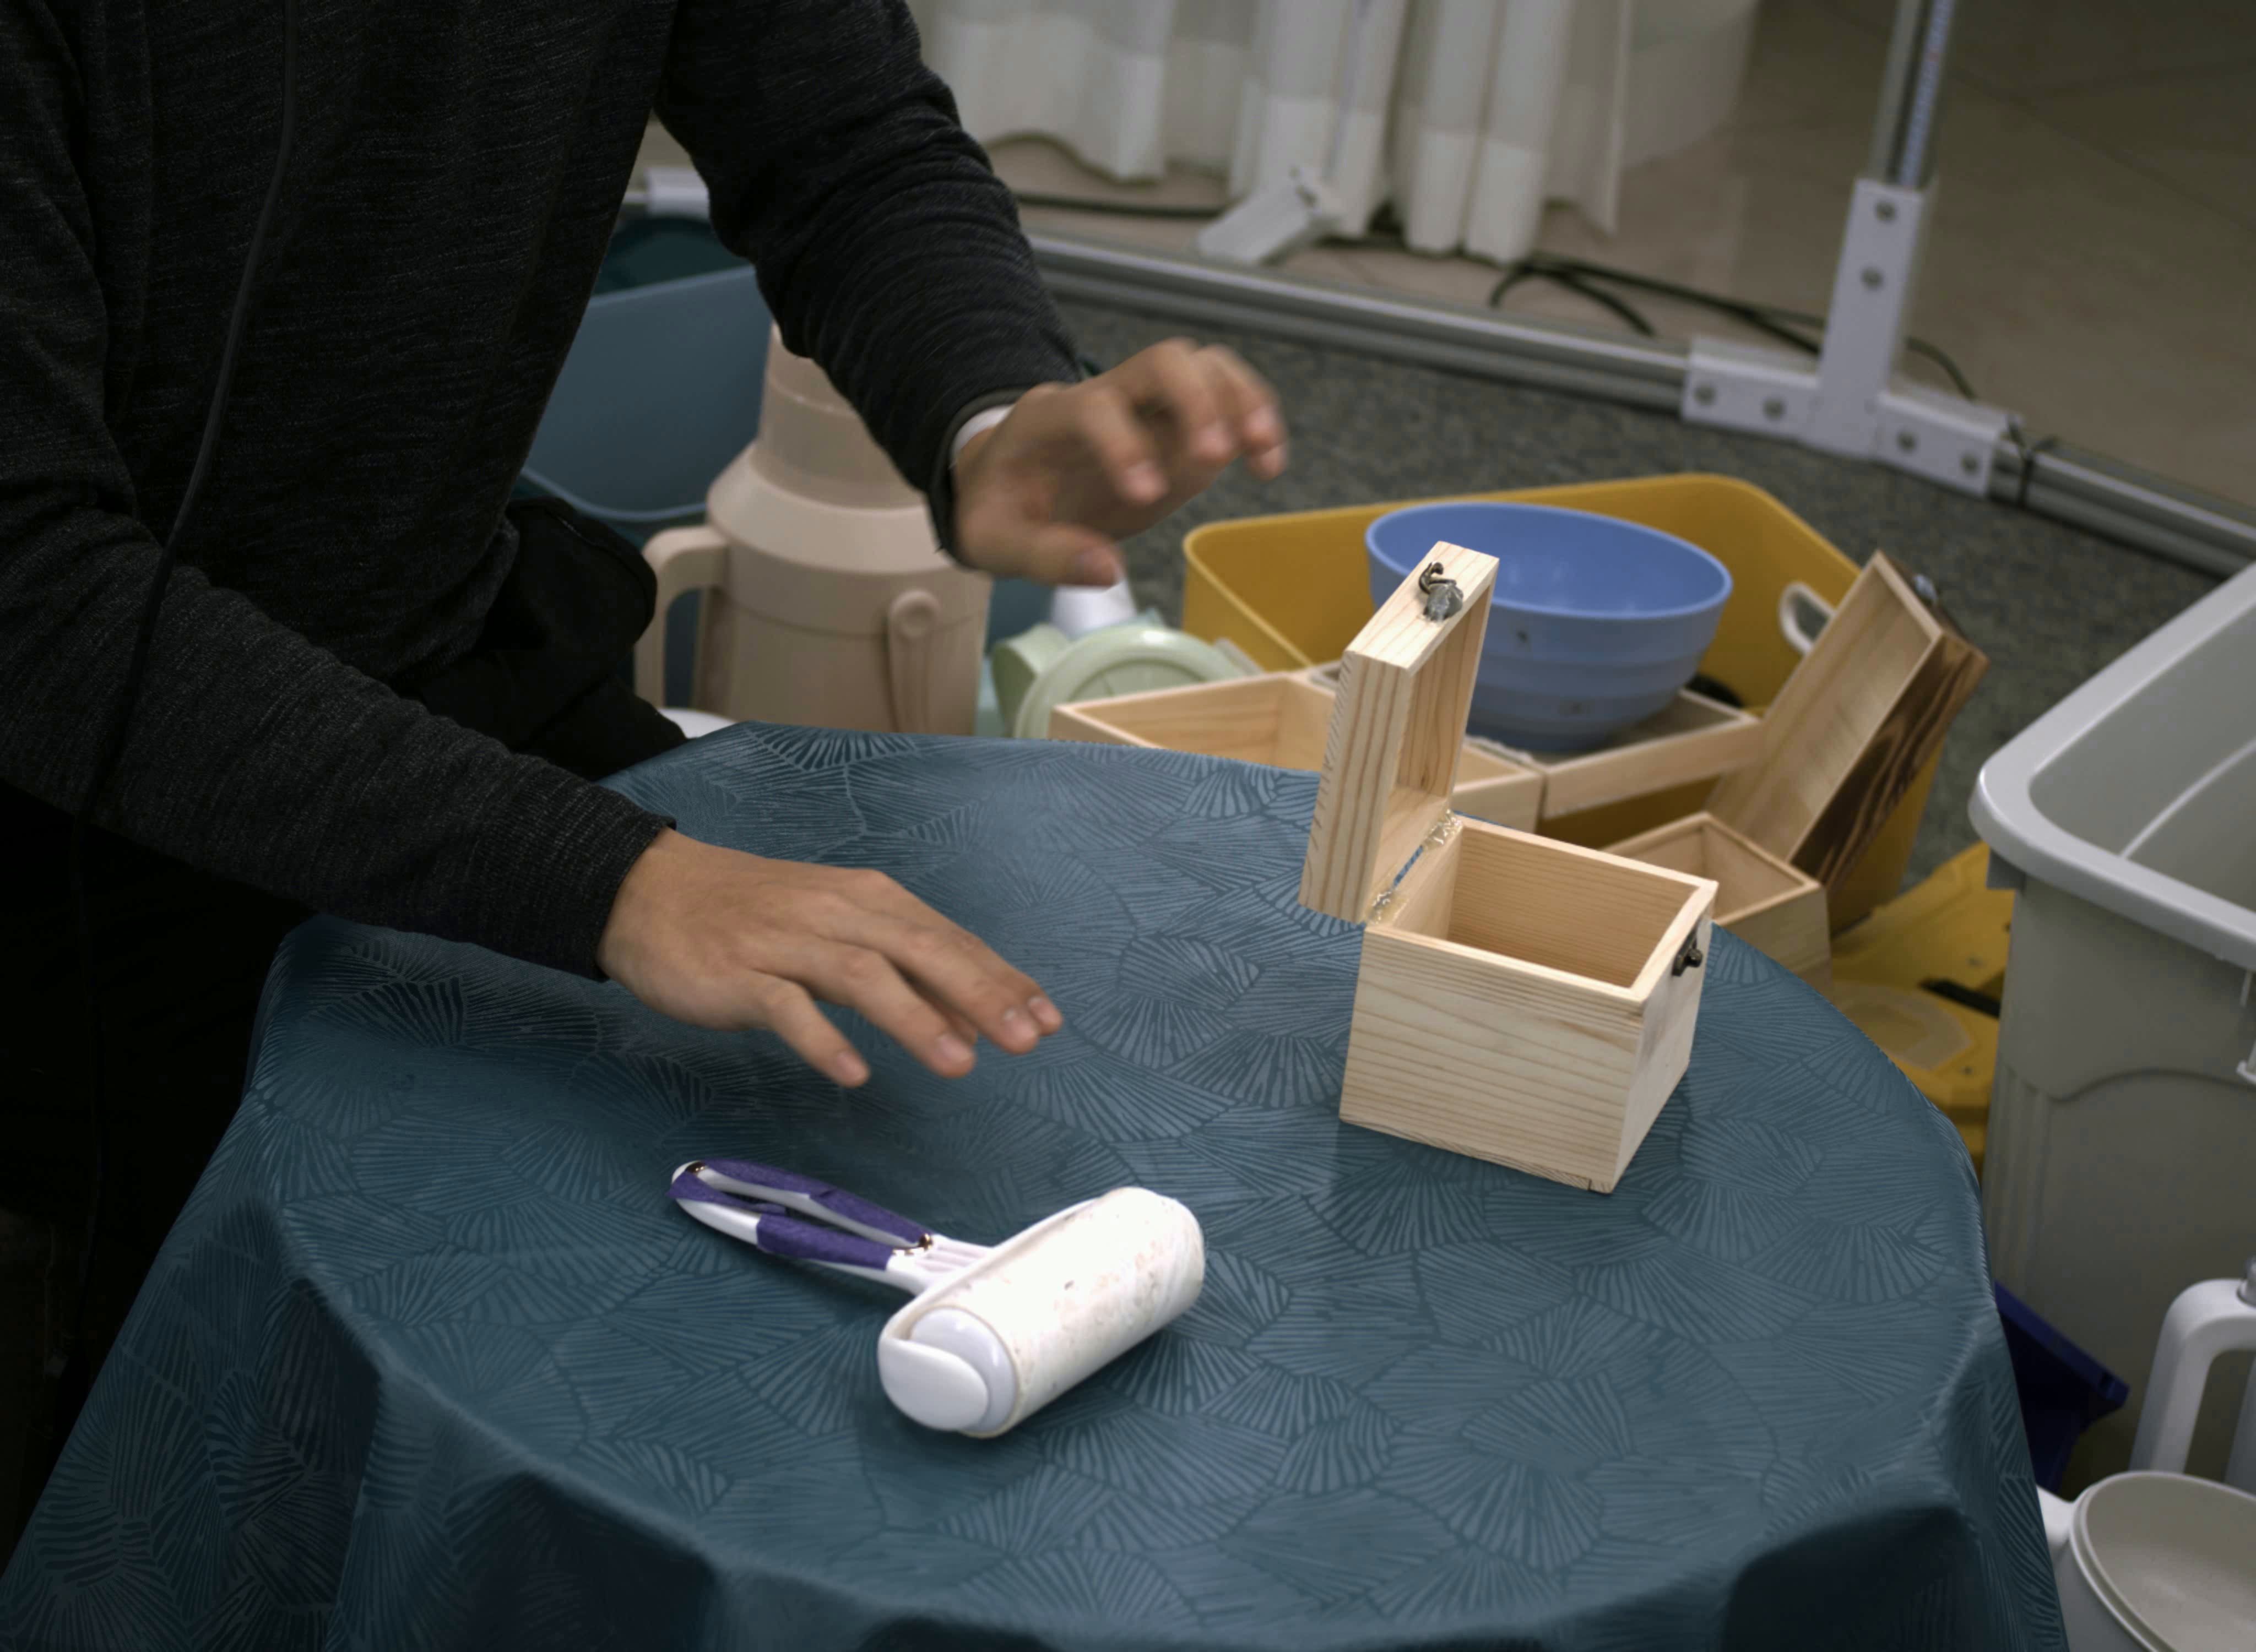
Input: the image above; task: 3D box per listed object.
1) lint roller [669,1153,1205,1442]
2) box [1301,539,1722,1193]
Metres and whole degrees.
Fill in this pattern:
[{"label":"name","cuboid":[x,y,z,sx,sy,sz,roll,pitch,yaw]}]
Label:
[{"label":"lint roller","cuboid":[-0.075,0.130,1.720,0.182,0.050,0.132,26,34,30]},{"label":"box","cuboid":[0.139,0.012,1.850,0.134,0.184,0.102,14,27,17]}]
